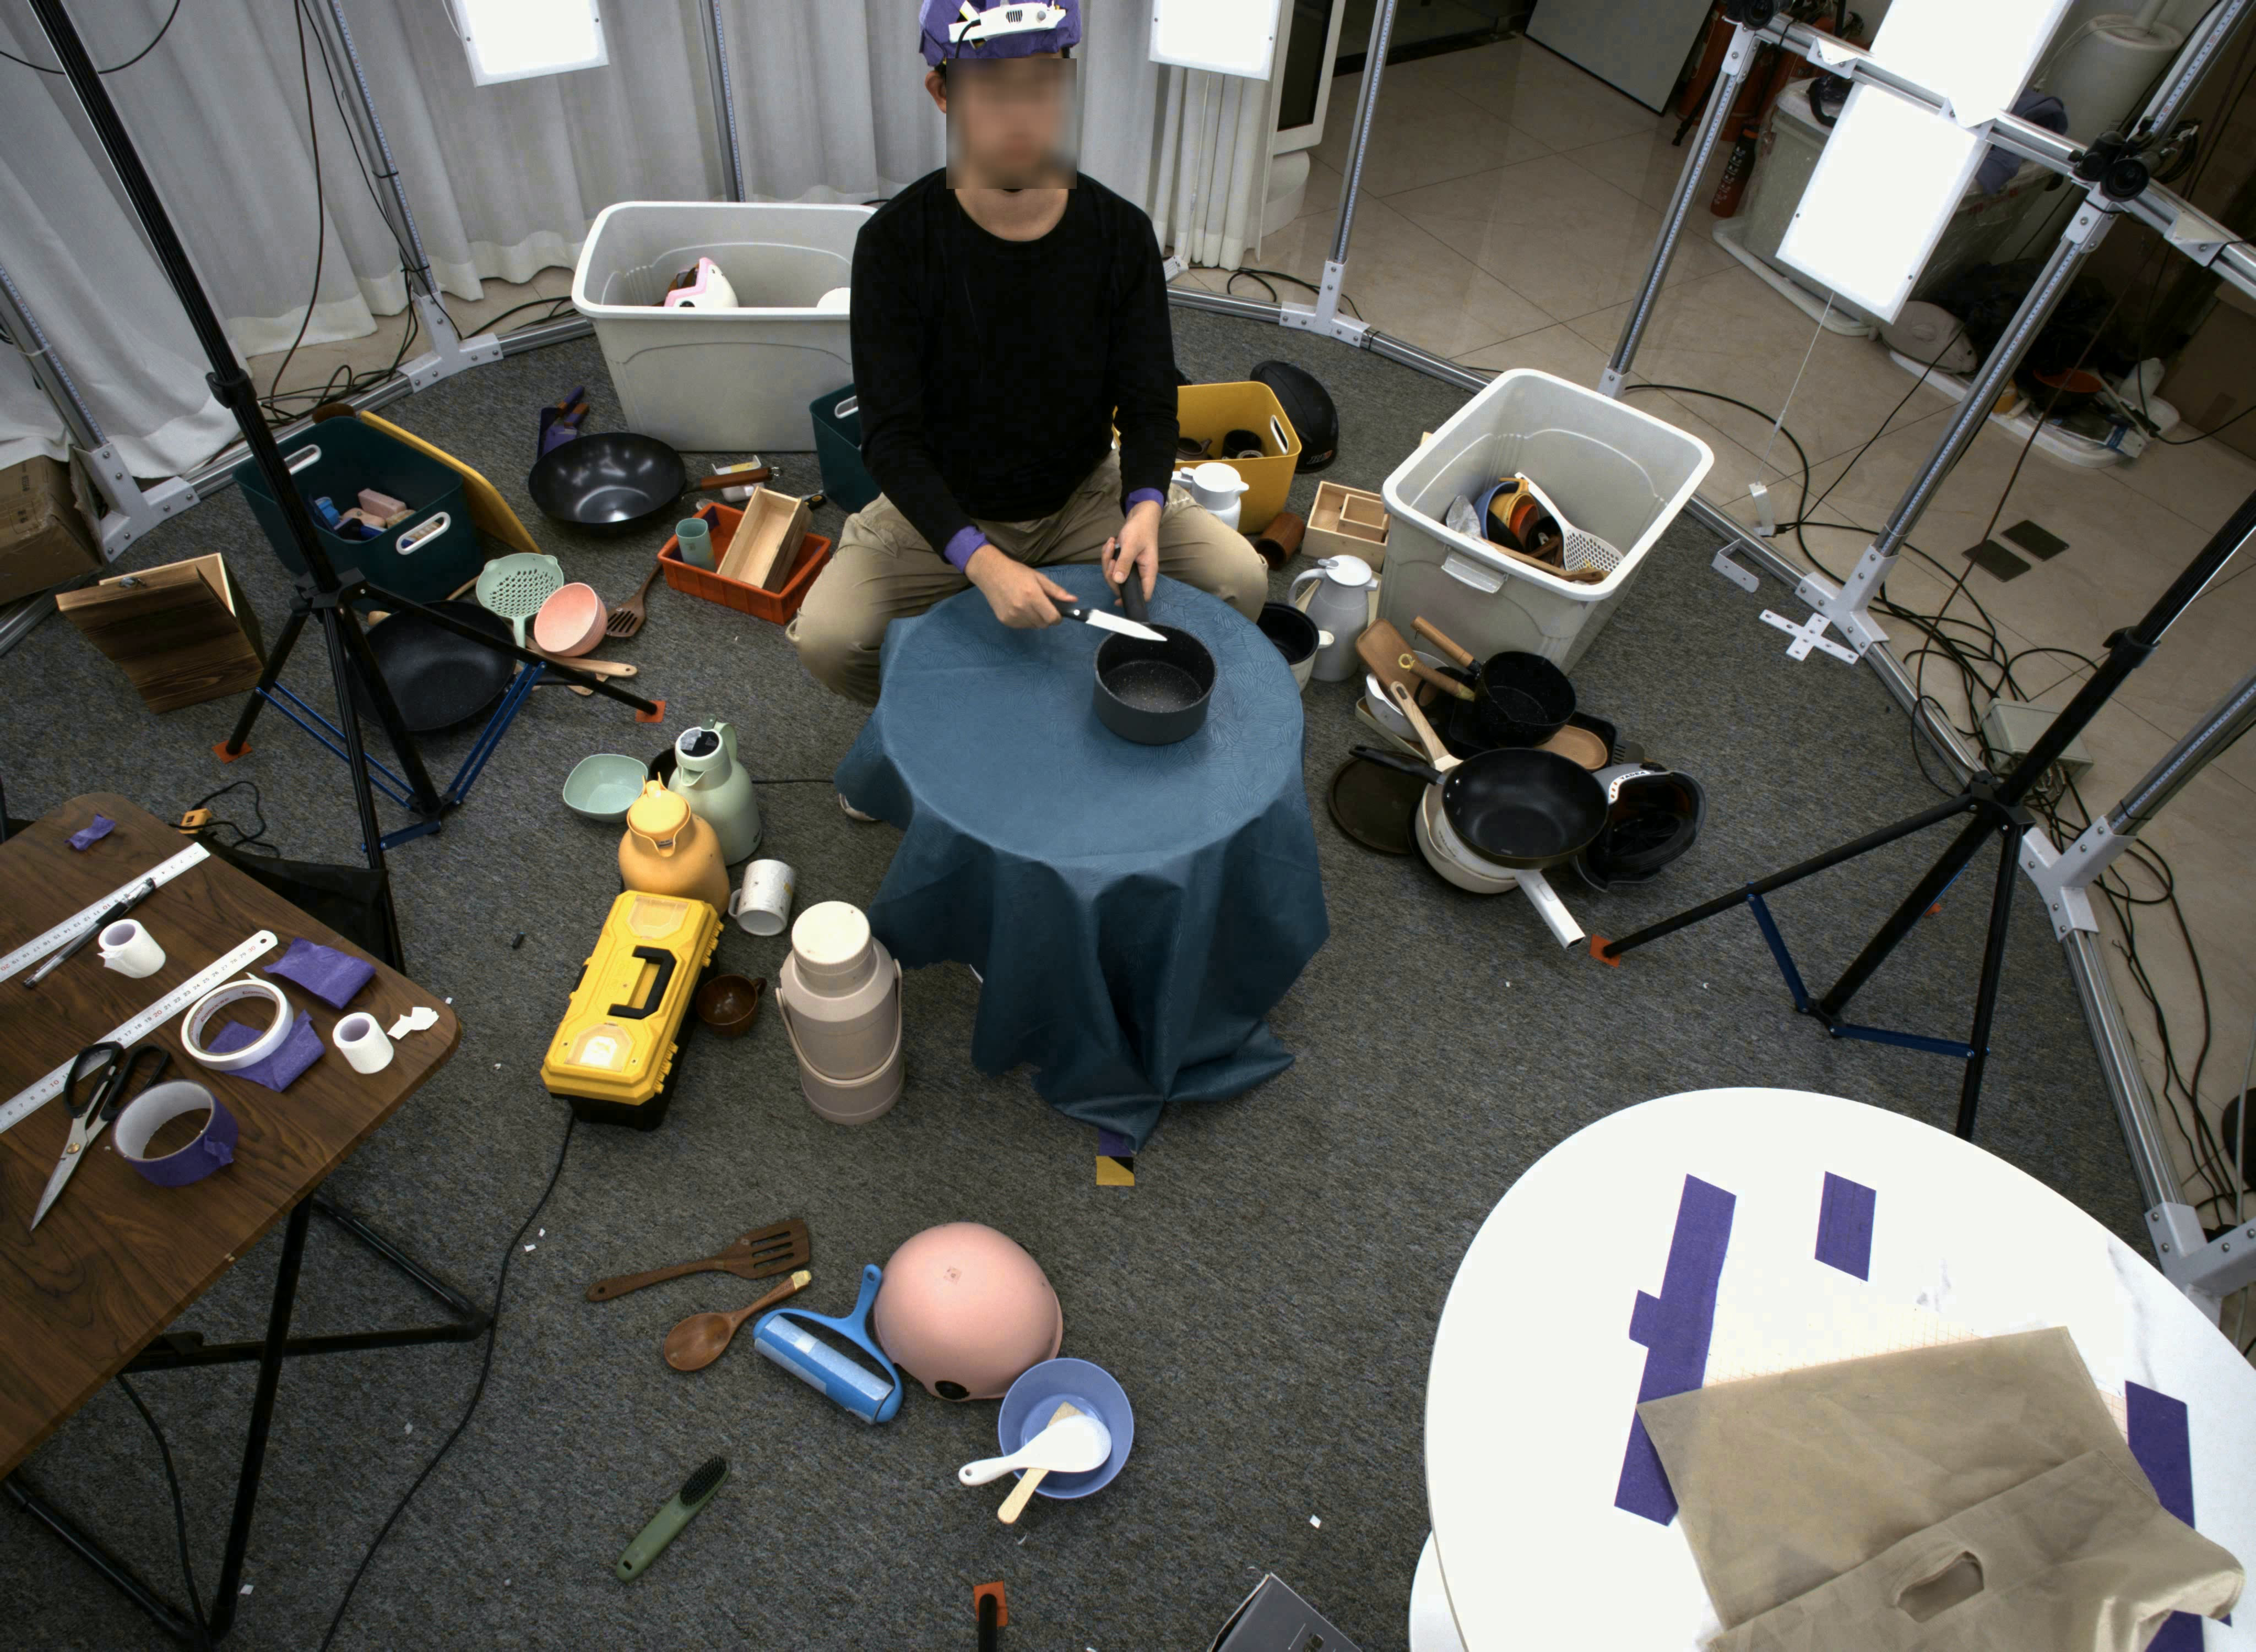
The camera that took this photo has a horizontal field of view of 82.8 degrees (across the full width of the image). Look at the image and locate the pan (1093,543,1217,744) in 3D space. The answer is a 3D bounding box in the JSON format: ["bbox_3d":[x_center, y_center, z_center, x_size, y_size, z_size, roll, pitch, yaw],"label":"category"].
[{"bbox_3d":[0.023,-0.263,1.836,0.172,0.084,0.337,-4,53,-8],"label":"pan"}]

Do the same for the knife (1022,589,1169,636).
[{"bbox_3d":[-0.049,-0.297,1.815,0.240,0.016,0.025,19,76,23],"label":"knife"}]
